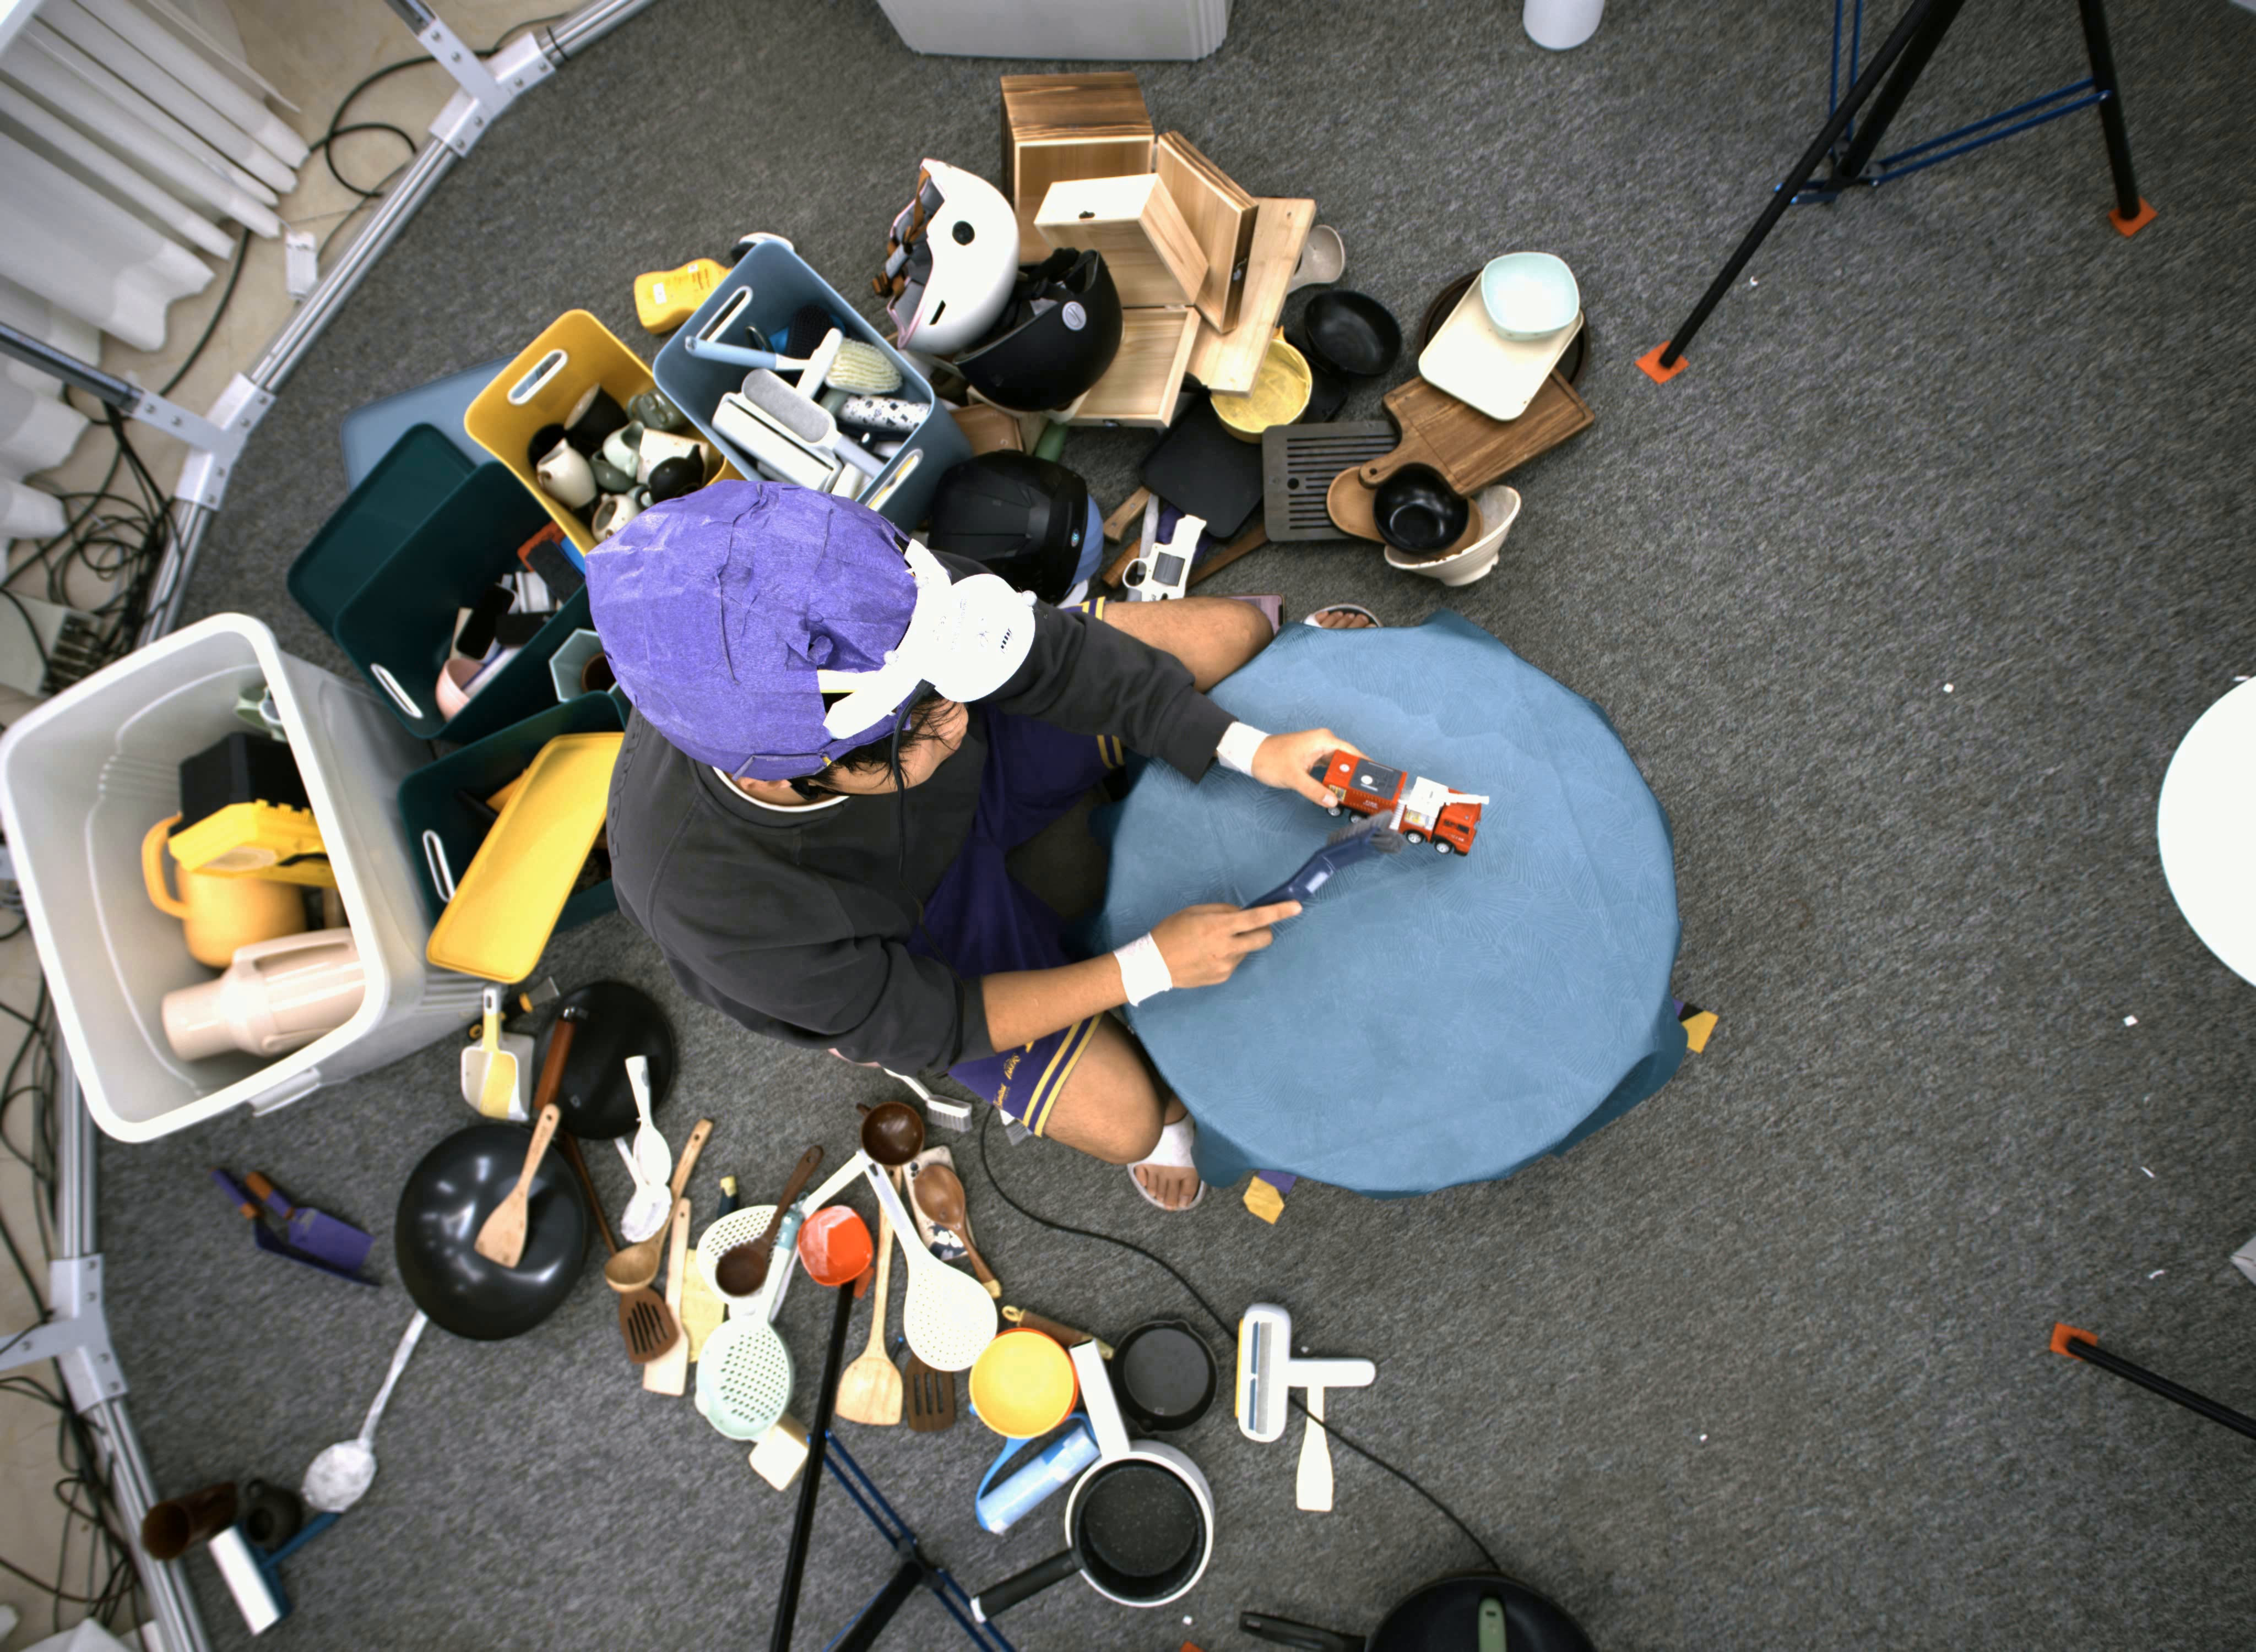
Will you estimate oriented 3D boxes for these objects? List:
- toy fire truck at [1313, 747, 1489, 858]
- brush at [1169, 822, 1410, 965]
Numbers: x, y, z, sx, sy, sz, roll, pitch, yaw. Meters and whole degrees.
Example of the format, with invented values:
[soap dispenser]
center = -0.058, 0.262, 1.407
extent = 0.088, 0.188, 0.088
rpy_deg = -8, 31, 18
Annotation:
[toy fire truck]
center = 0.273, -0.026, 1.378
extent = 0.168, 0.072, 0.052
rpy_deg = 18, 53, 12
[brush]
center = 0.155, 0.076, 1.374
extent = 0.277, 0.093, 0.034
rpy_deg = -37, 117, 23
